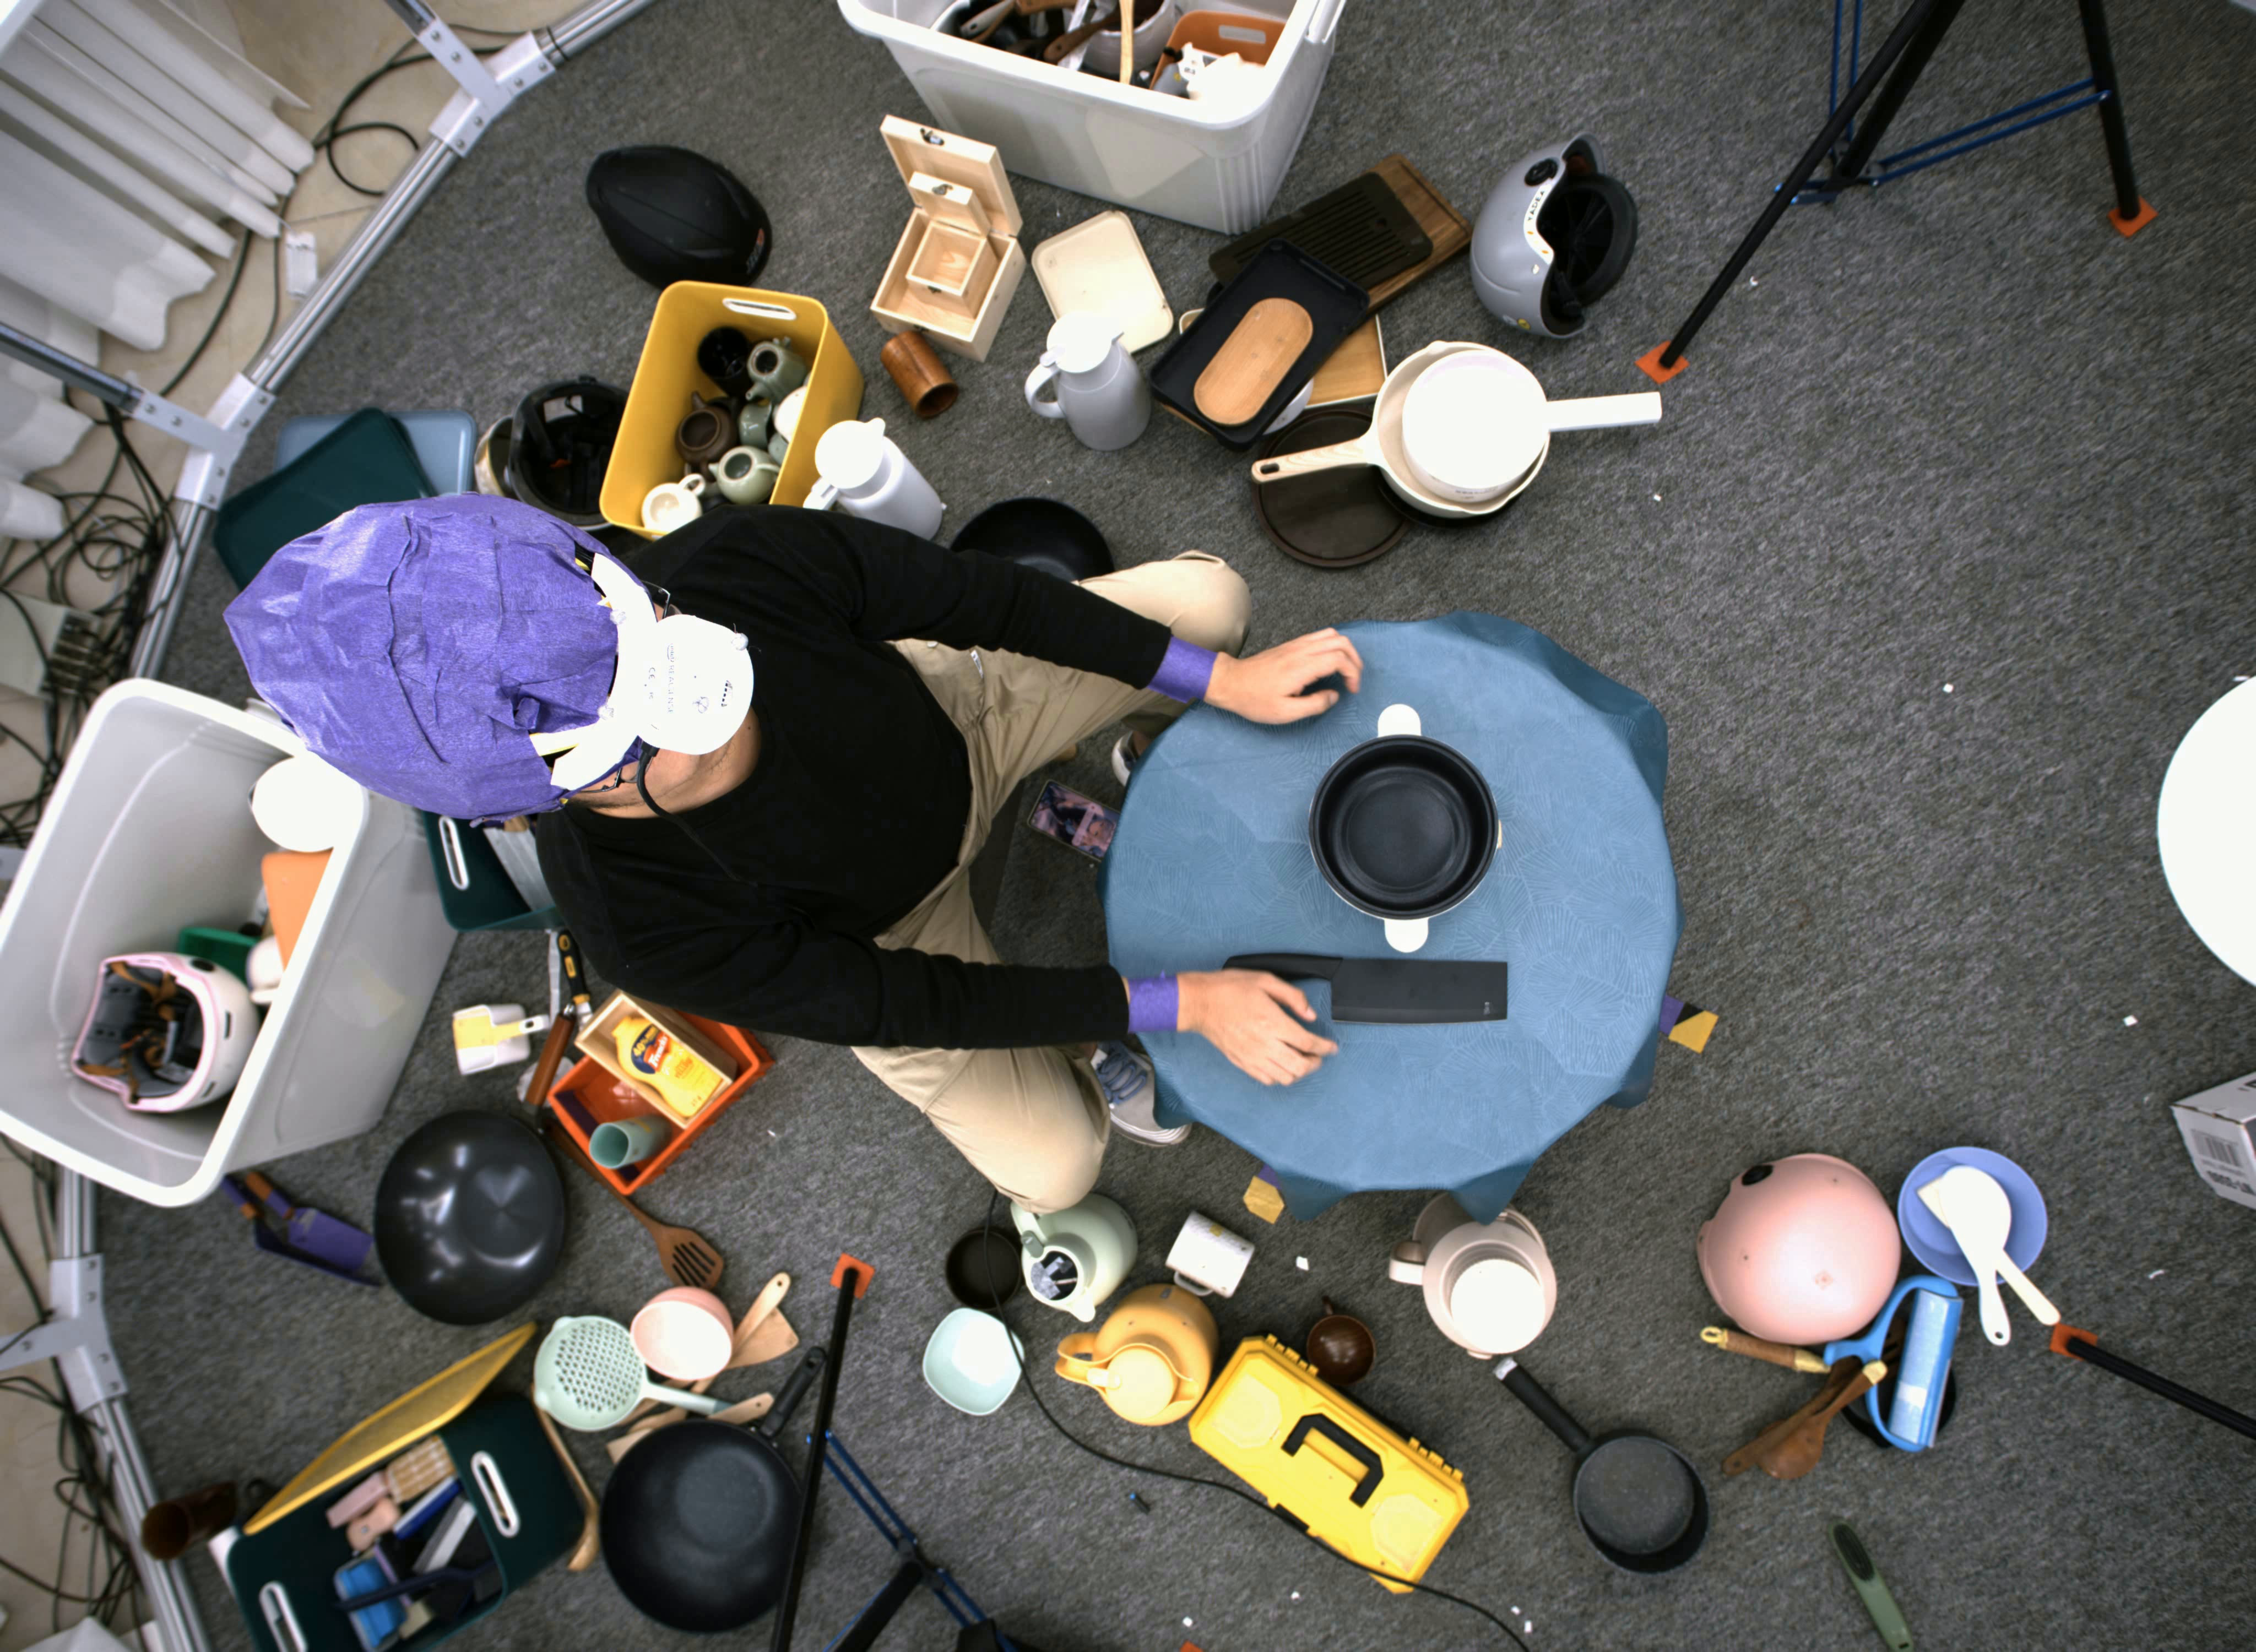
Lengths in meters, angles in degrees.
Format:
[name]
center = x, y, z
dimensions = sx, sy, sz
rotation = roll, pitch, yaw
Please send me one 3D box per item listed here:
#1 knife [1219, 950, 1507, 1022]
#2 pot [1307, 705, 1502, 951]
[knife]
center = 0.246, 0.165, 1.454
dimensions = 0.303, 0.021, 0.081
rotation = 5, 89, 9
[pot]
center = 0.282, 0.004, 1.392
dimensions = 0.191, 0.142, 0.239
rotation = -3, 87, 14
